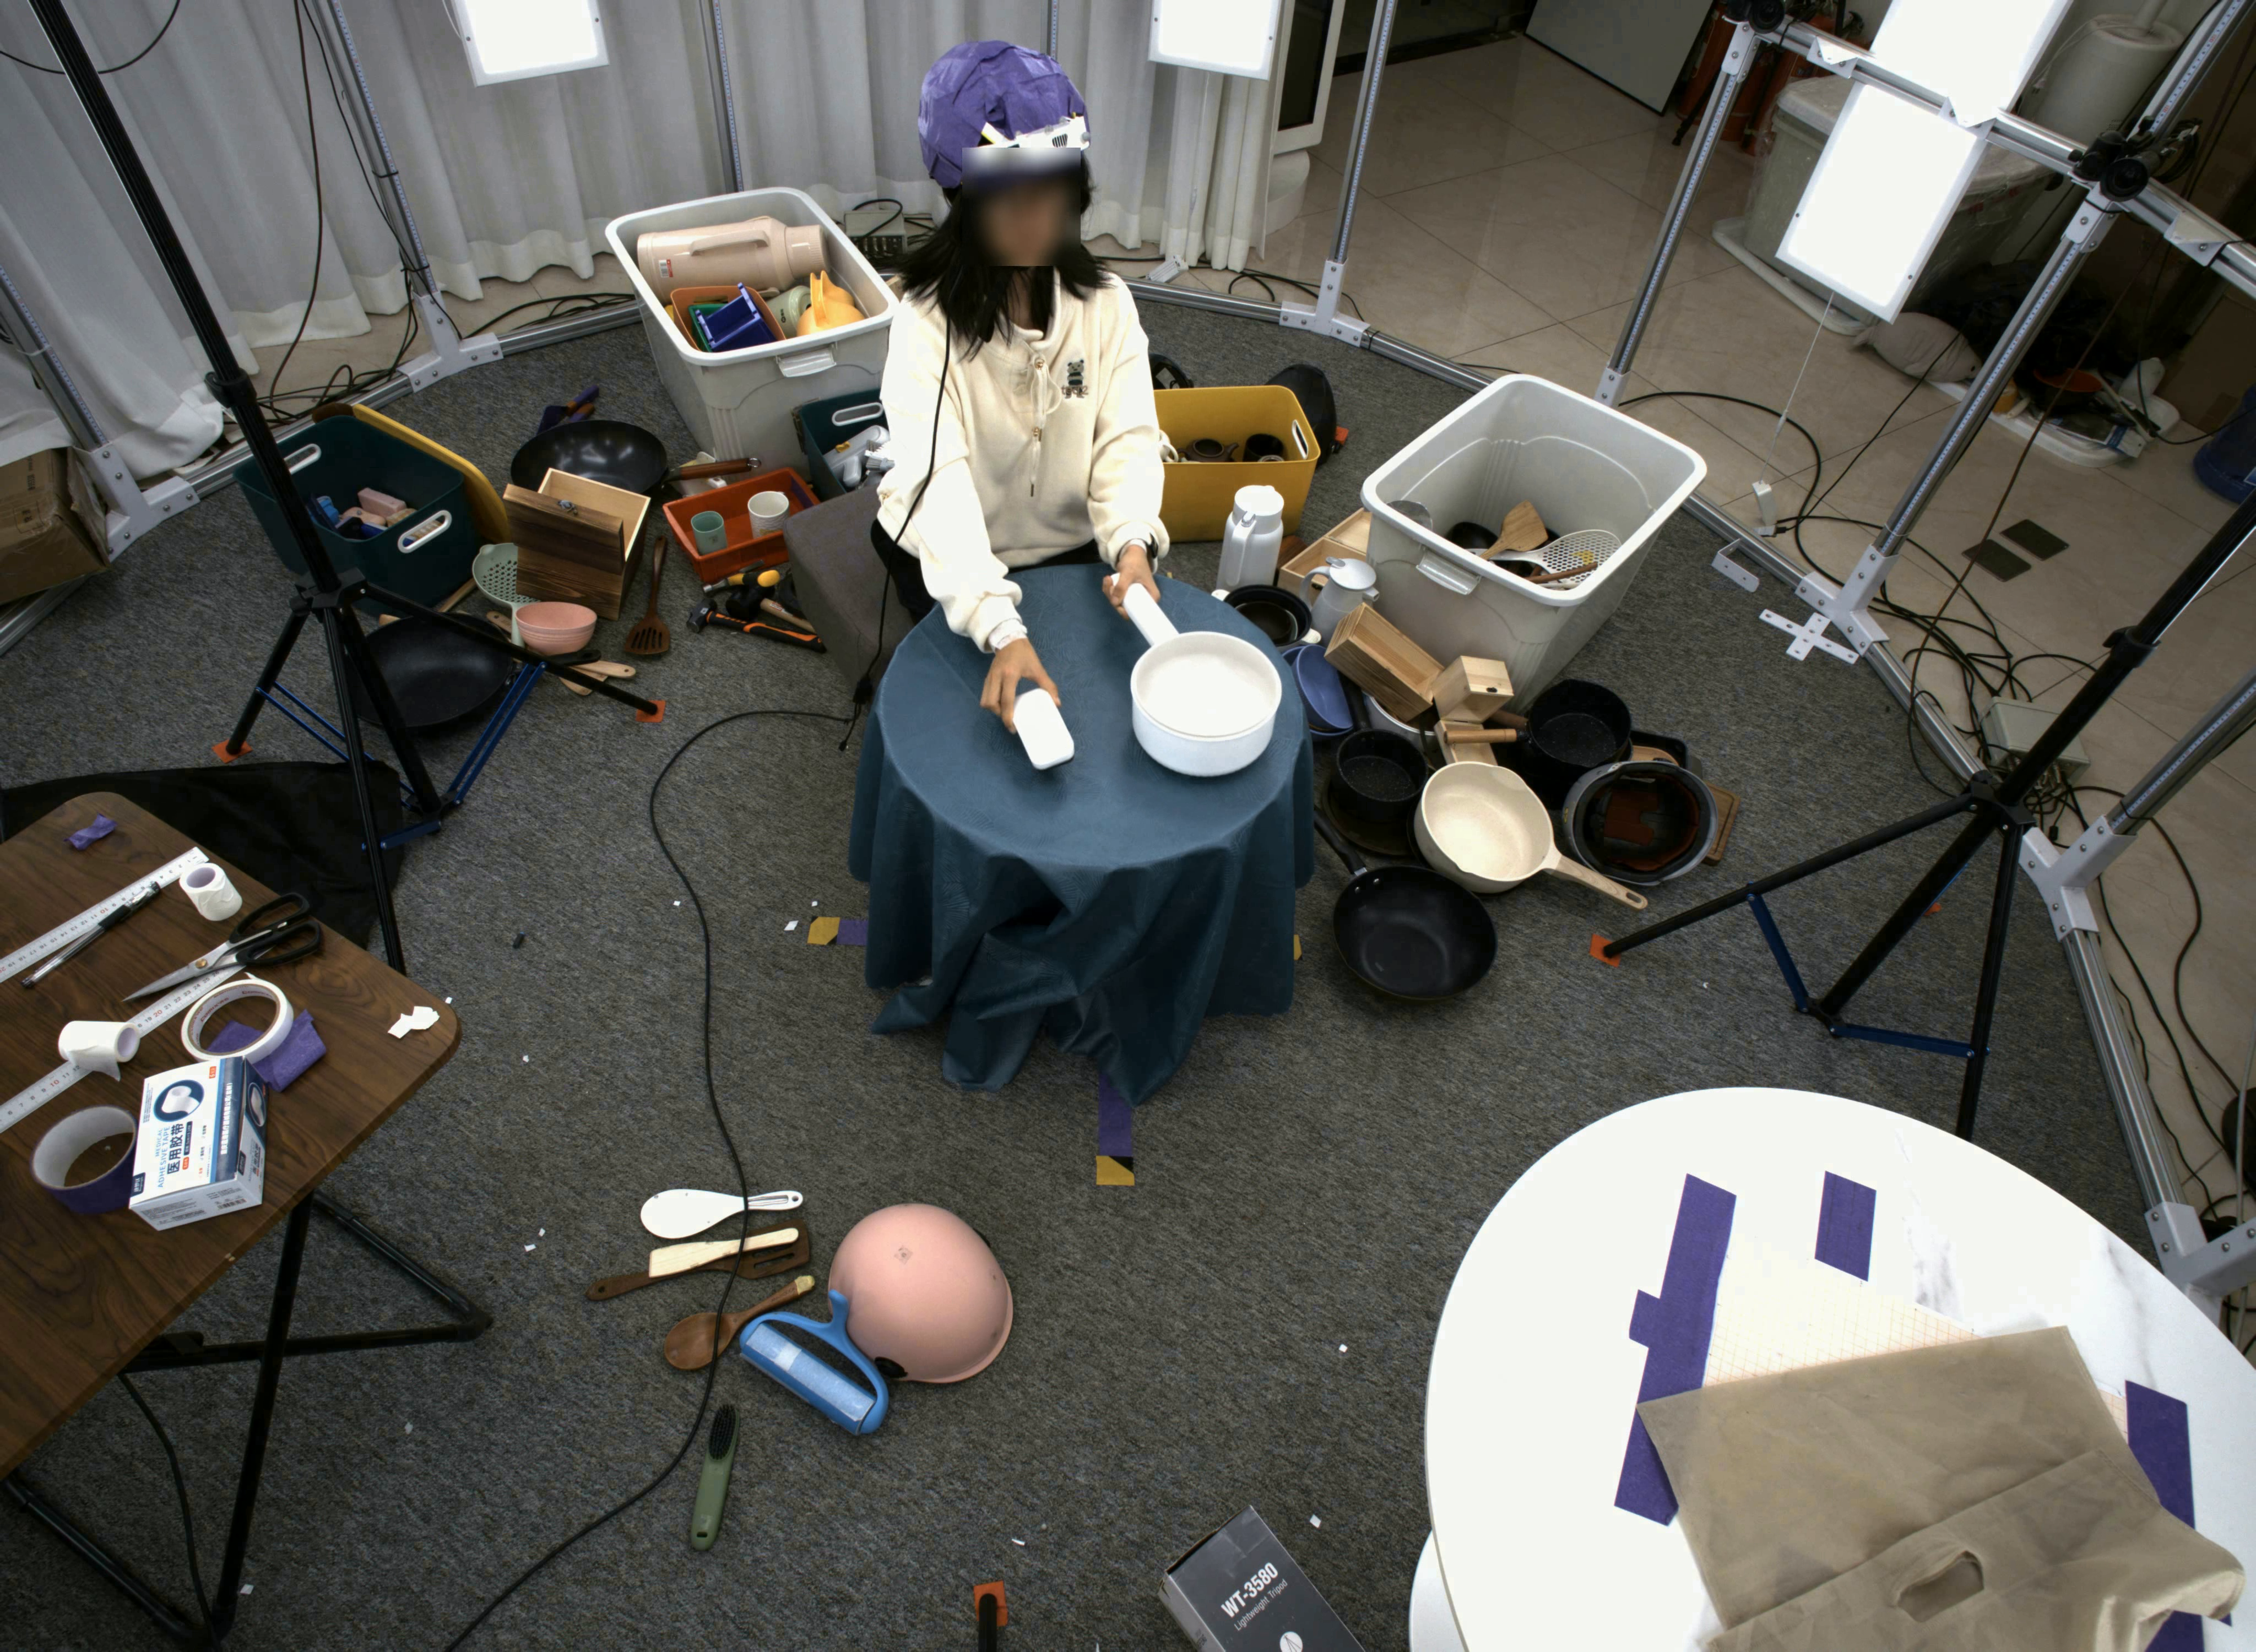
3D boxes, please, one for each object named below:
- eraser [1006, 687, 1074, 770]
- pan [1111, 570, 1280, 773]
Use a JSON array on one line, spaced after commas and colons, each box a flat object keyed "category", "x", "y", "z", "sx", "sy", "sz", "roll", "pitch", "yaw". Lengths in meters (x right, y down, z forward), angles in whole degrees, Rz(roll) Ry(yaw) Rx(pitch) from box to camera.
[{"category": "eraser", "x": -0.117, "y": -0.133, "z": 1.712, "sx": 0.063, "sy": 0.033, "sz": 0.134, "roll": -20, "pitch": 50, "yaw": -7}, {"category": "pan", "x": 0.067, "y": -0.217, "z": 1.791, "sx": 0.201, "sy": 0.099, "sz": 0.363, "roll": -19, "pitch": 51, "yaw": -19}]
